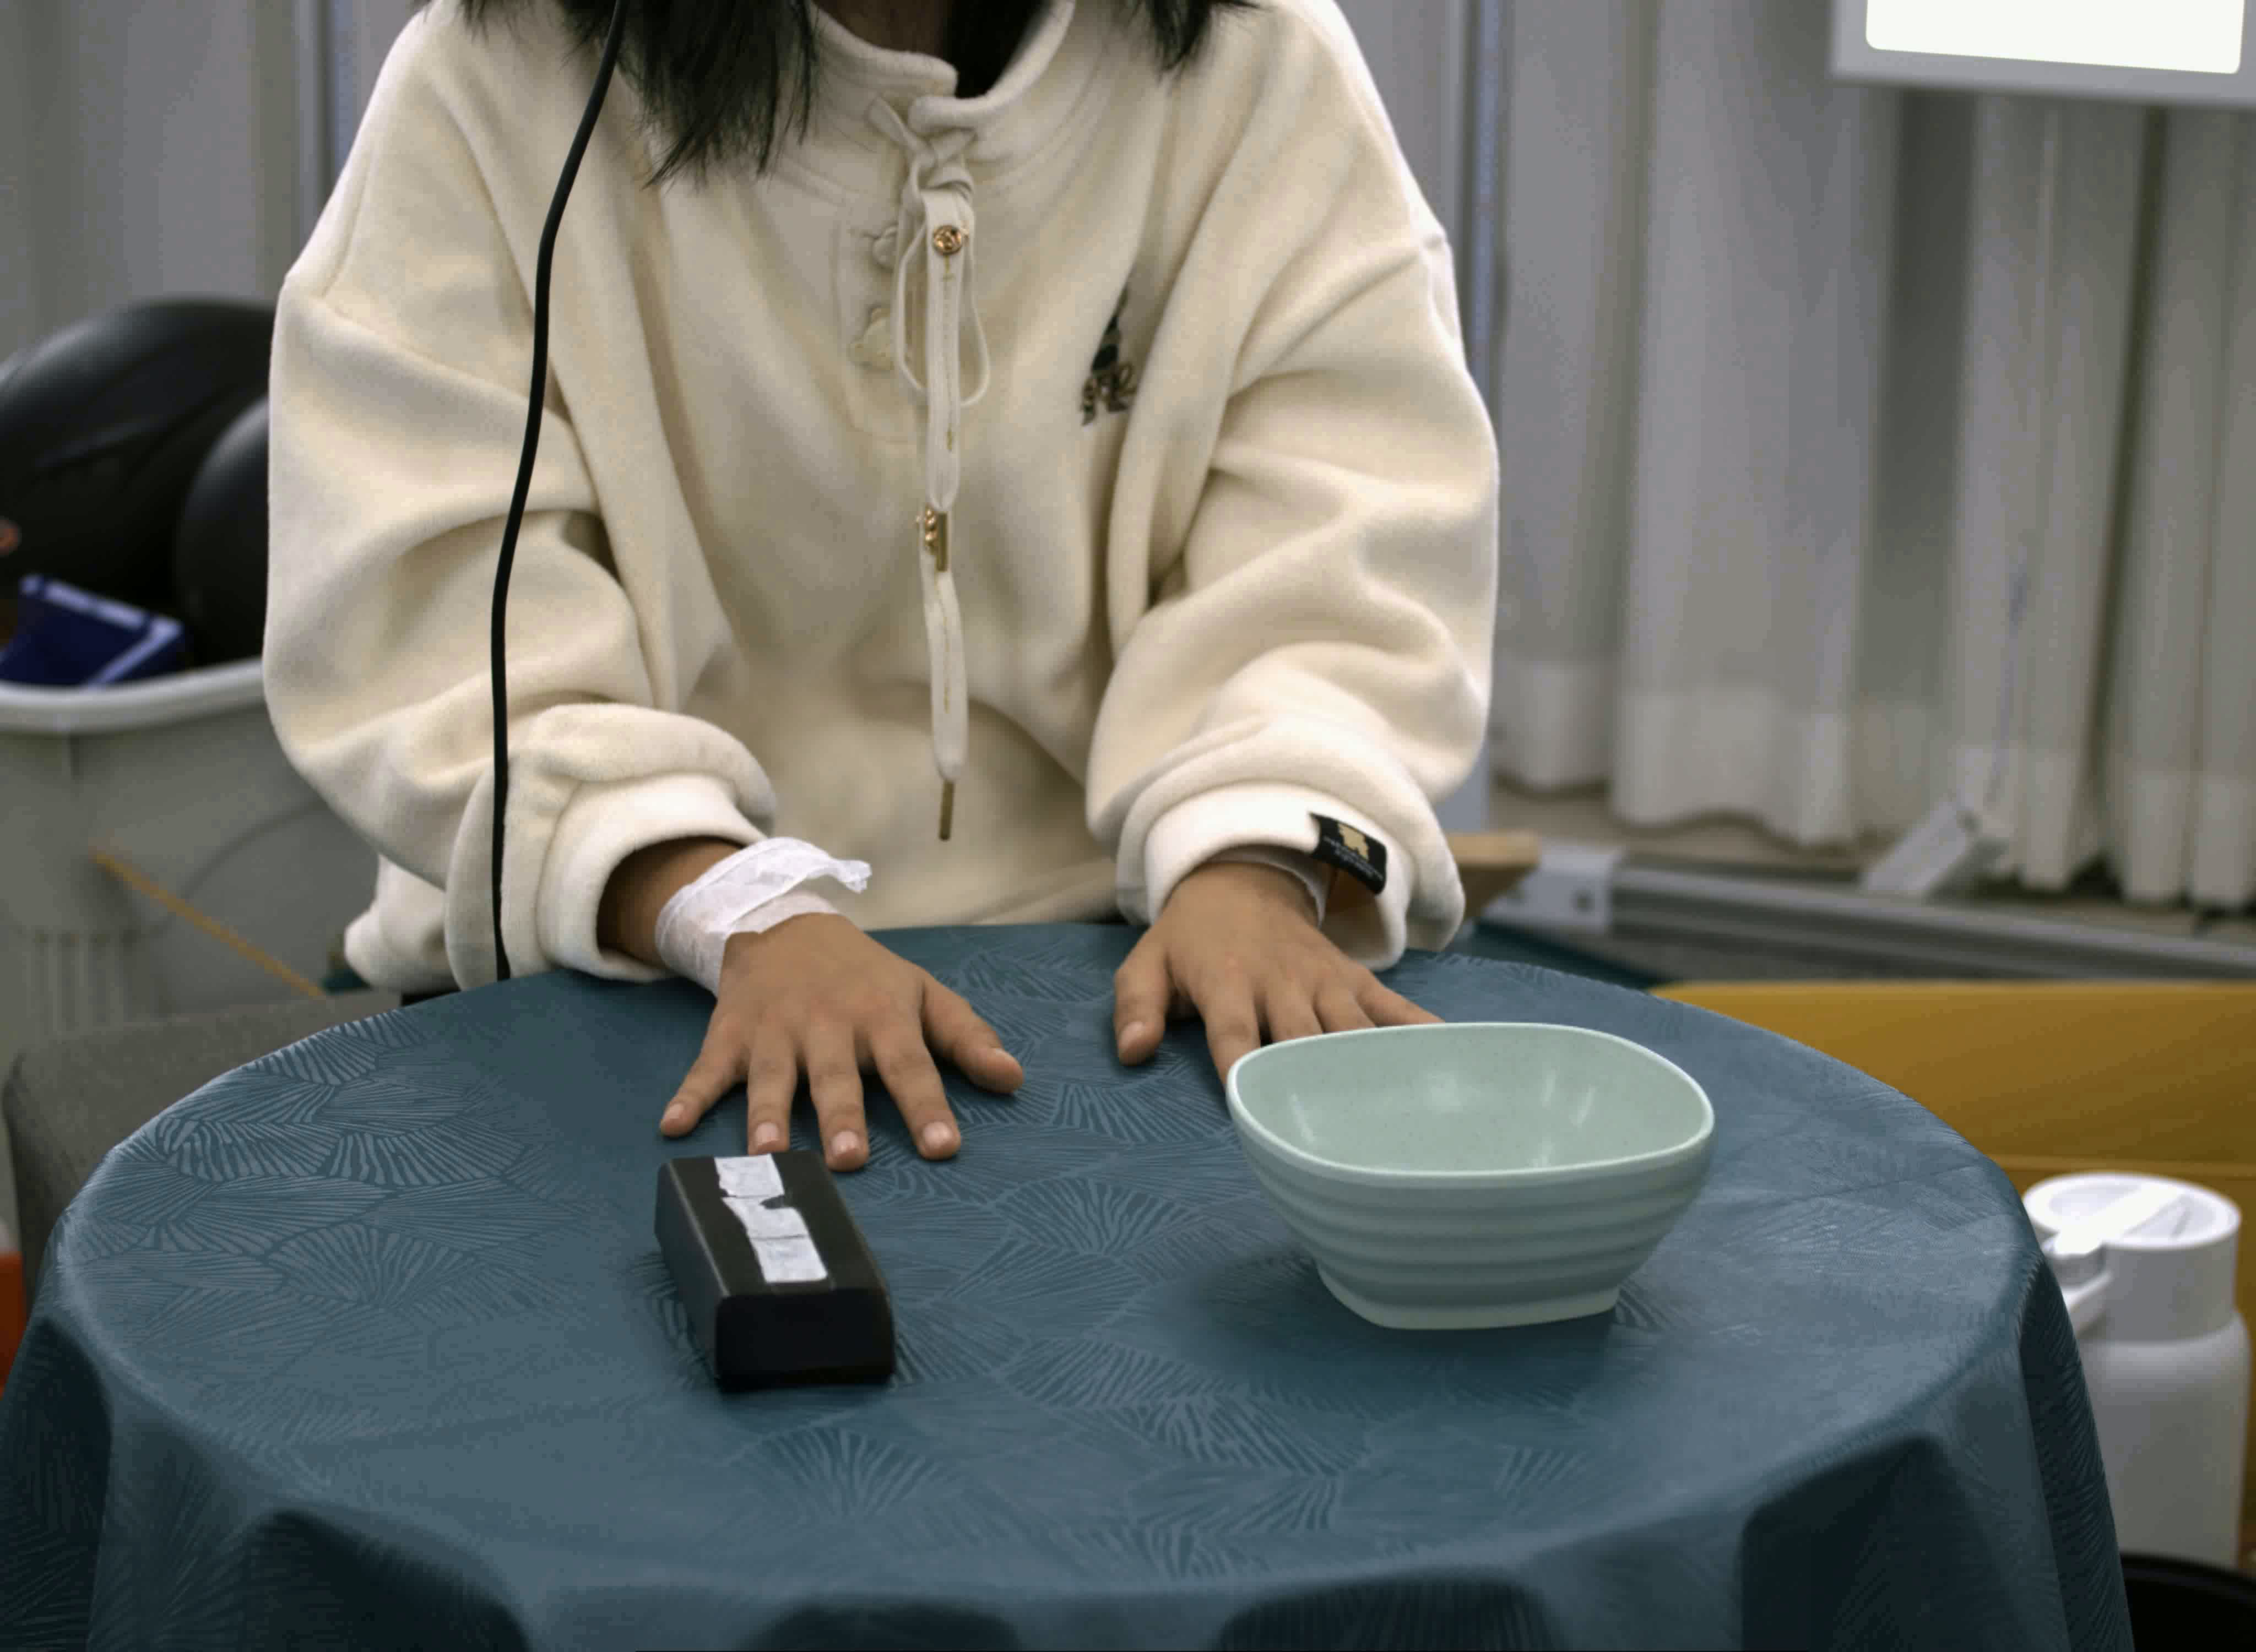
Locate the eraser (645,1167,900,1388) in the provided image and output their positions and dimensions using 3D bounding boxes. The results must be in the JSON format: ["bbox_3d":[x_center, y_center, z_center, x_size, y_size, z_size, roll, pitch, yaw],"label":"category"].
[{"bbox_3d":[-0.103,0.128,1.510,0.053,0.030,0.124,-2,13,-14],"label":"eraser"}]

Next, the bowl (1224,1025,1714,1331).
[{"bbox_3d":[0.097,0.106,1.541,0.151,0.059,0.150,3,15,0],"label":"bowl"}]
